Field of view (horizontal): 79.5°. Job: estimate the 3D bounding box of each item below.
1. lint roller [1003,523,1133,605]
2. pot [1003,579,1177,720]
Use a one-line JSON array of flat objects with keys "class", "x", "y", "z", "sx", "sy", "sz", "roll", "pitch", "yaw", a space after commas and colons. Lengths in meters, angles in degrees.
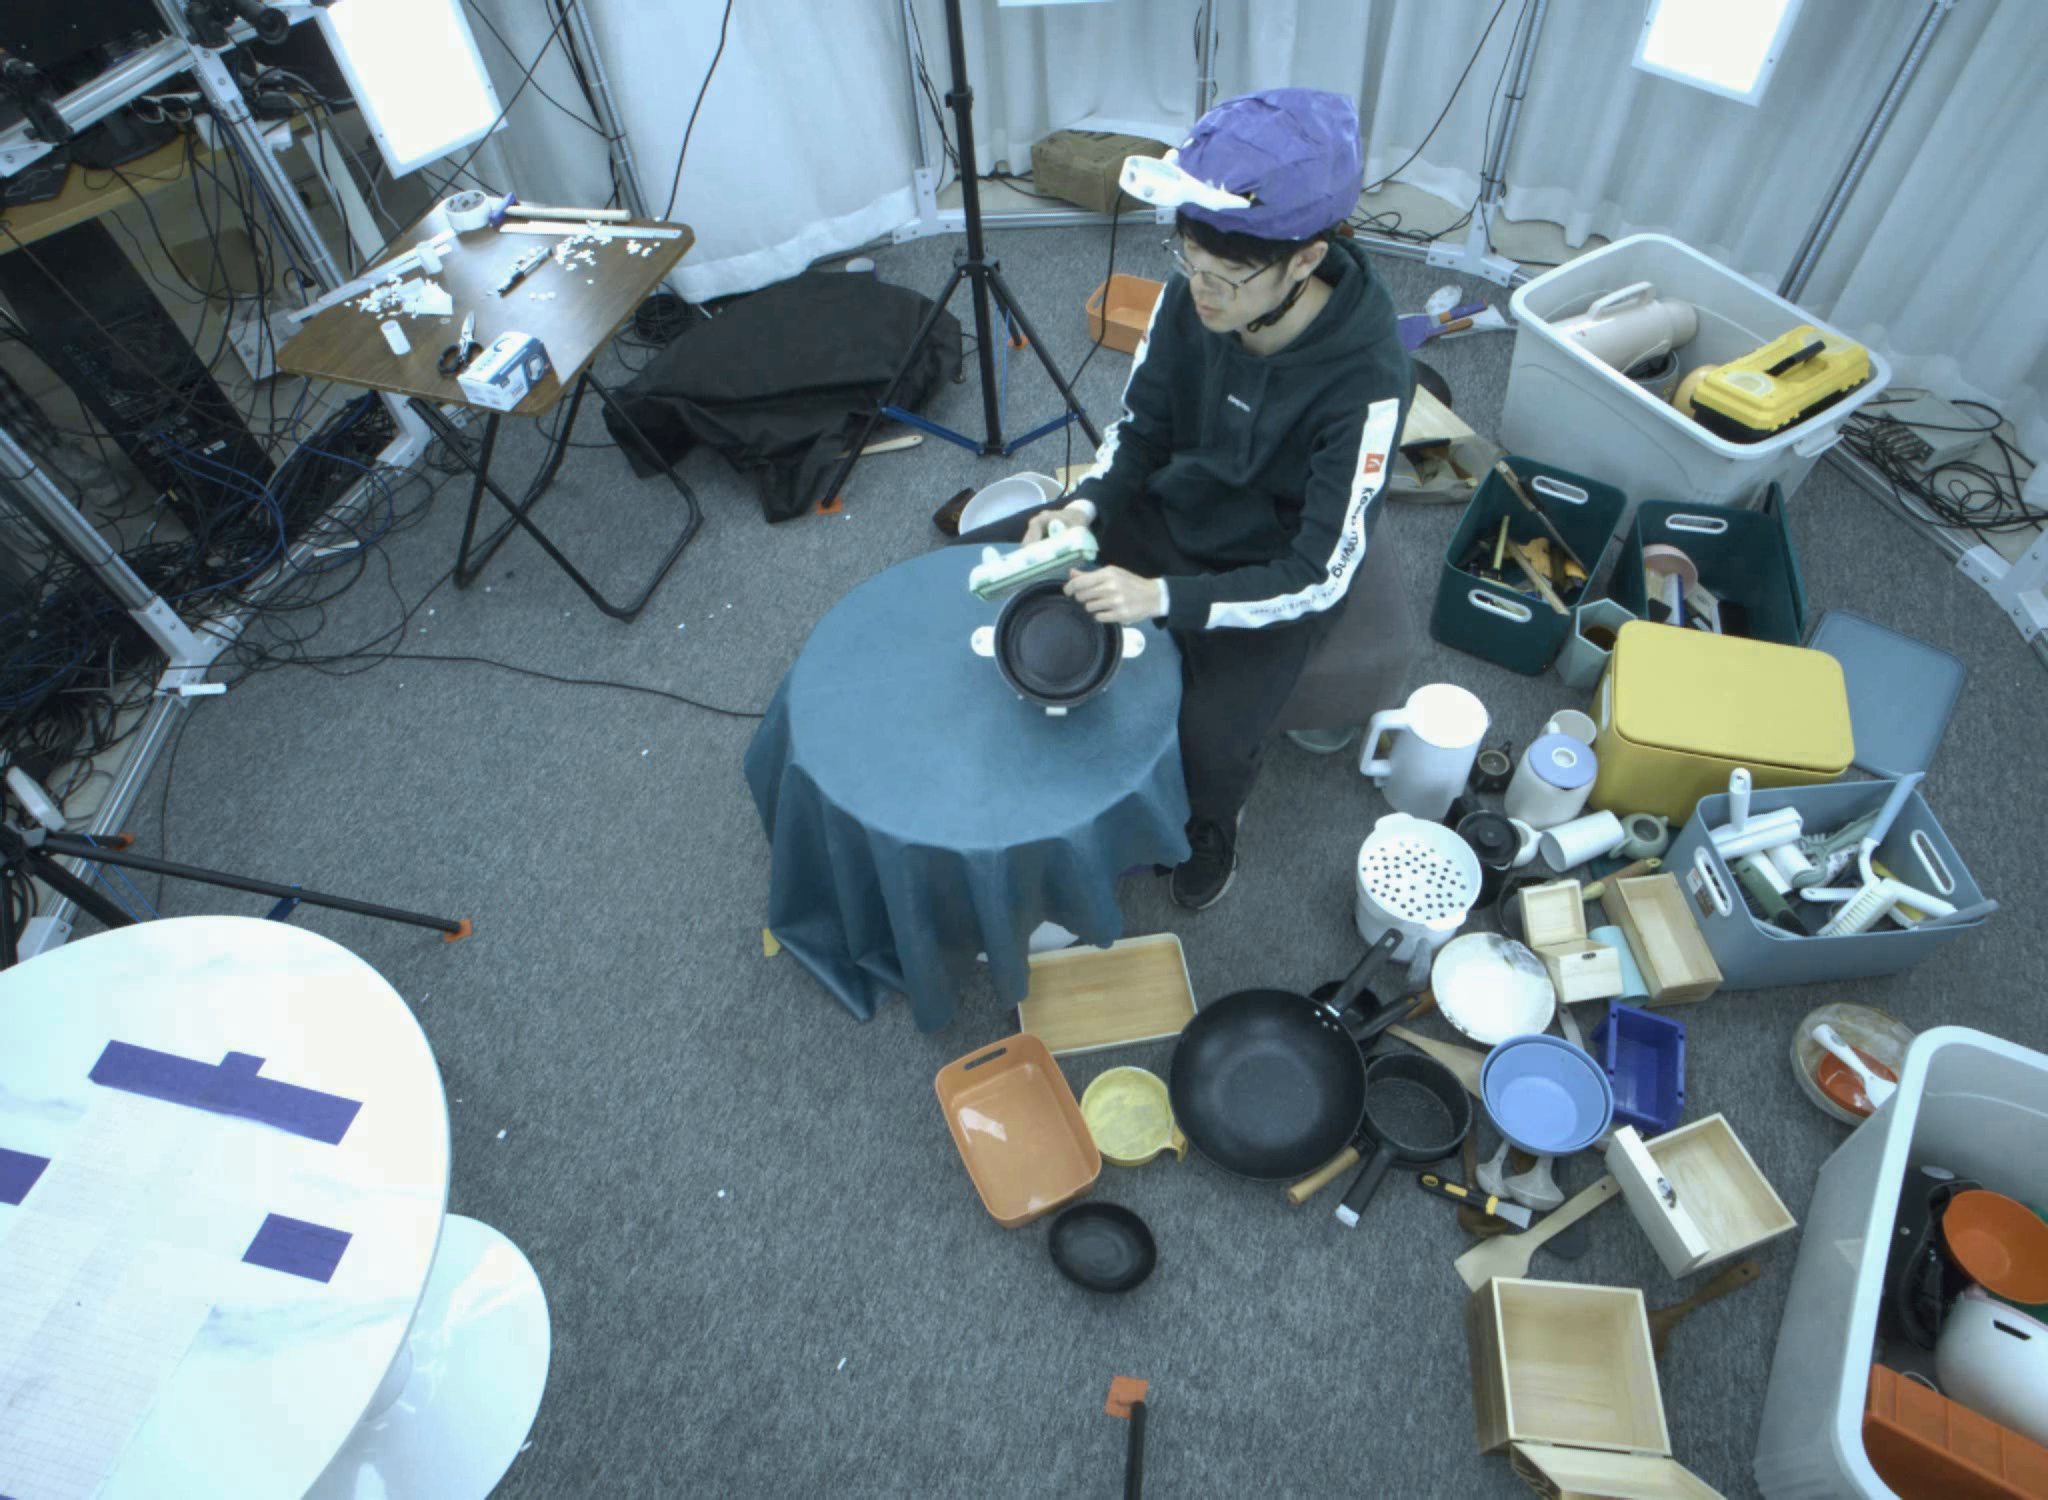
[{"class": "lint roller", "x": 0.074, "y": -0.301, "z": 1.829, "sx": 0.196, "sy": 0.083, "sz": 0.183, "roll": -17, "pitch": 27, "yaw": 29}, {"class": "pot", "x": 0.093, "y": -0.139, "z": 1.754, "sx": 0.240, "sy": 0.142, "sz": 0.190, "roll": 1, "pitch": 89, "yaw": 0}]
